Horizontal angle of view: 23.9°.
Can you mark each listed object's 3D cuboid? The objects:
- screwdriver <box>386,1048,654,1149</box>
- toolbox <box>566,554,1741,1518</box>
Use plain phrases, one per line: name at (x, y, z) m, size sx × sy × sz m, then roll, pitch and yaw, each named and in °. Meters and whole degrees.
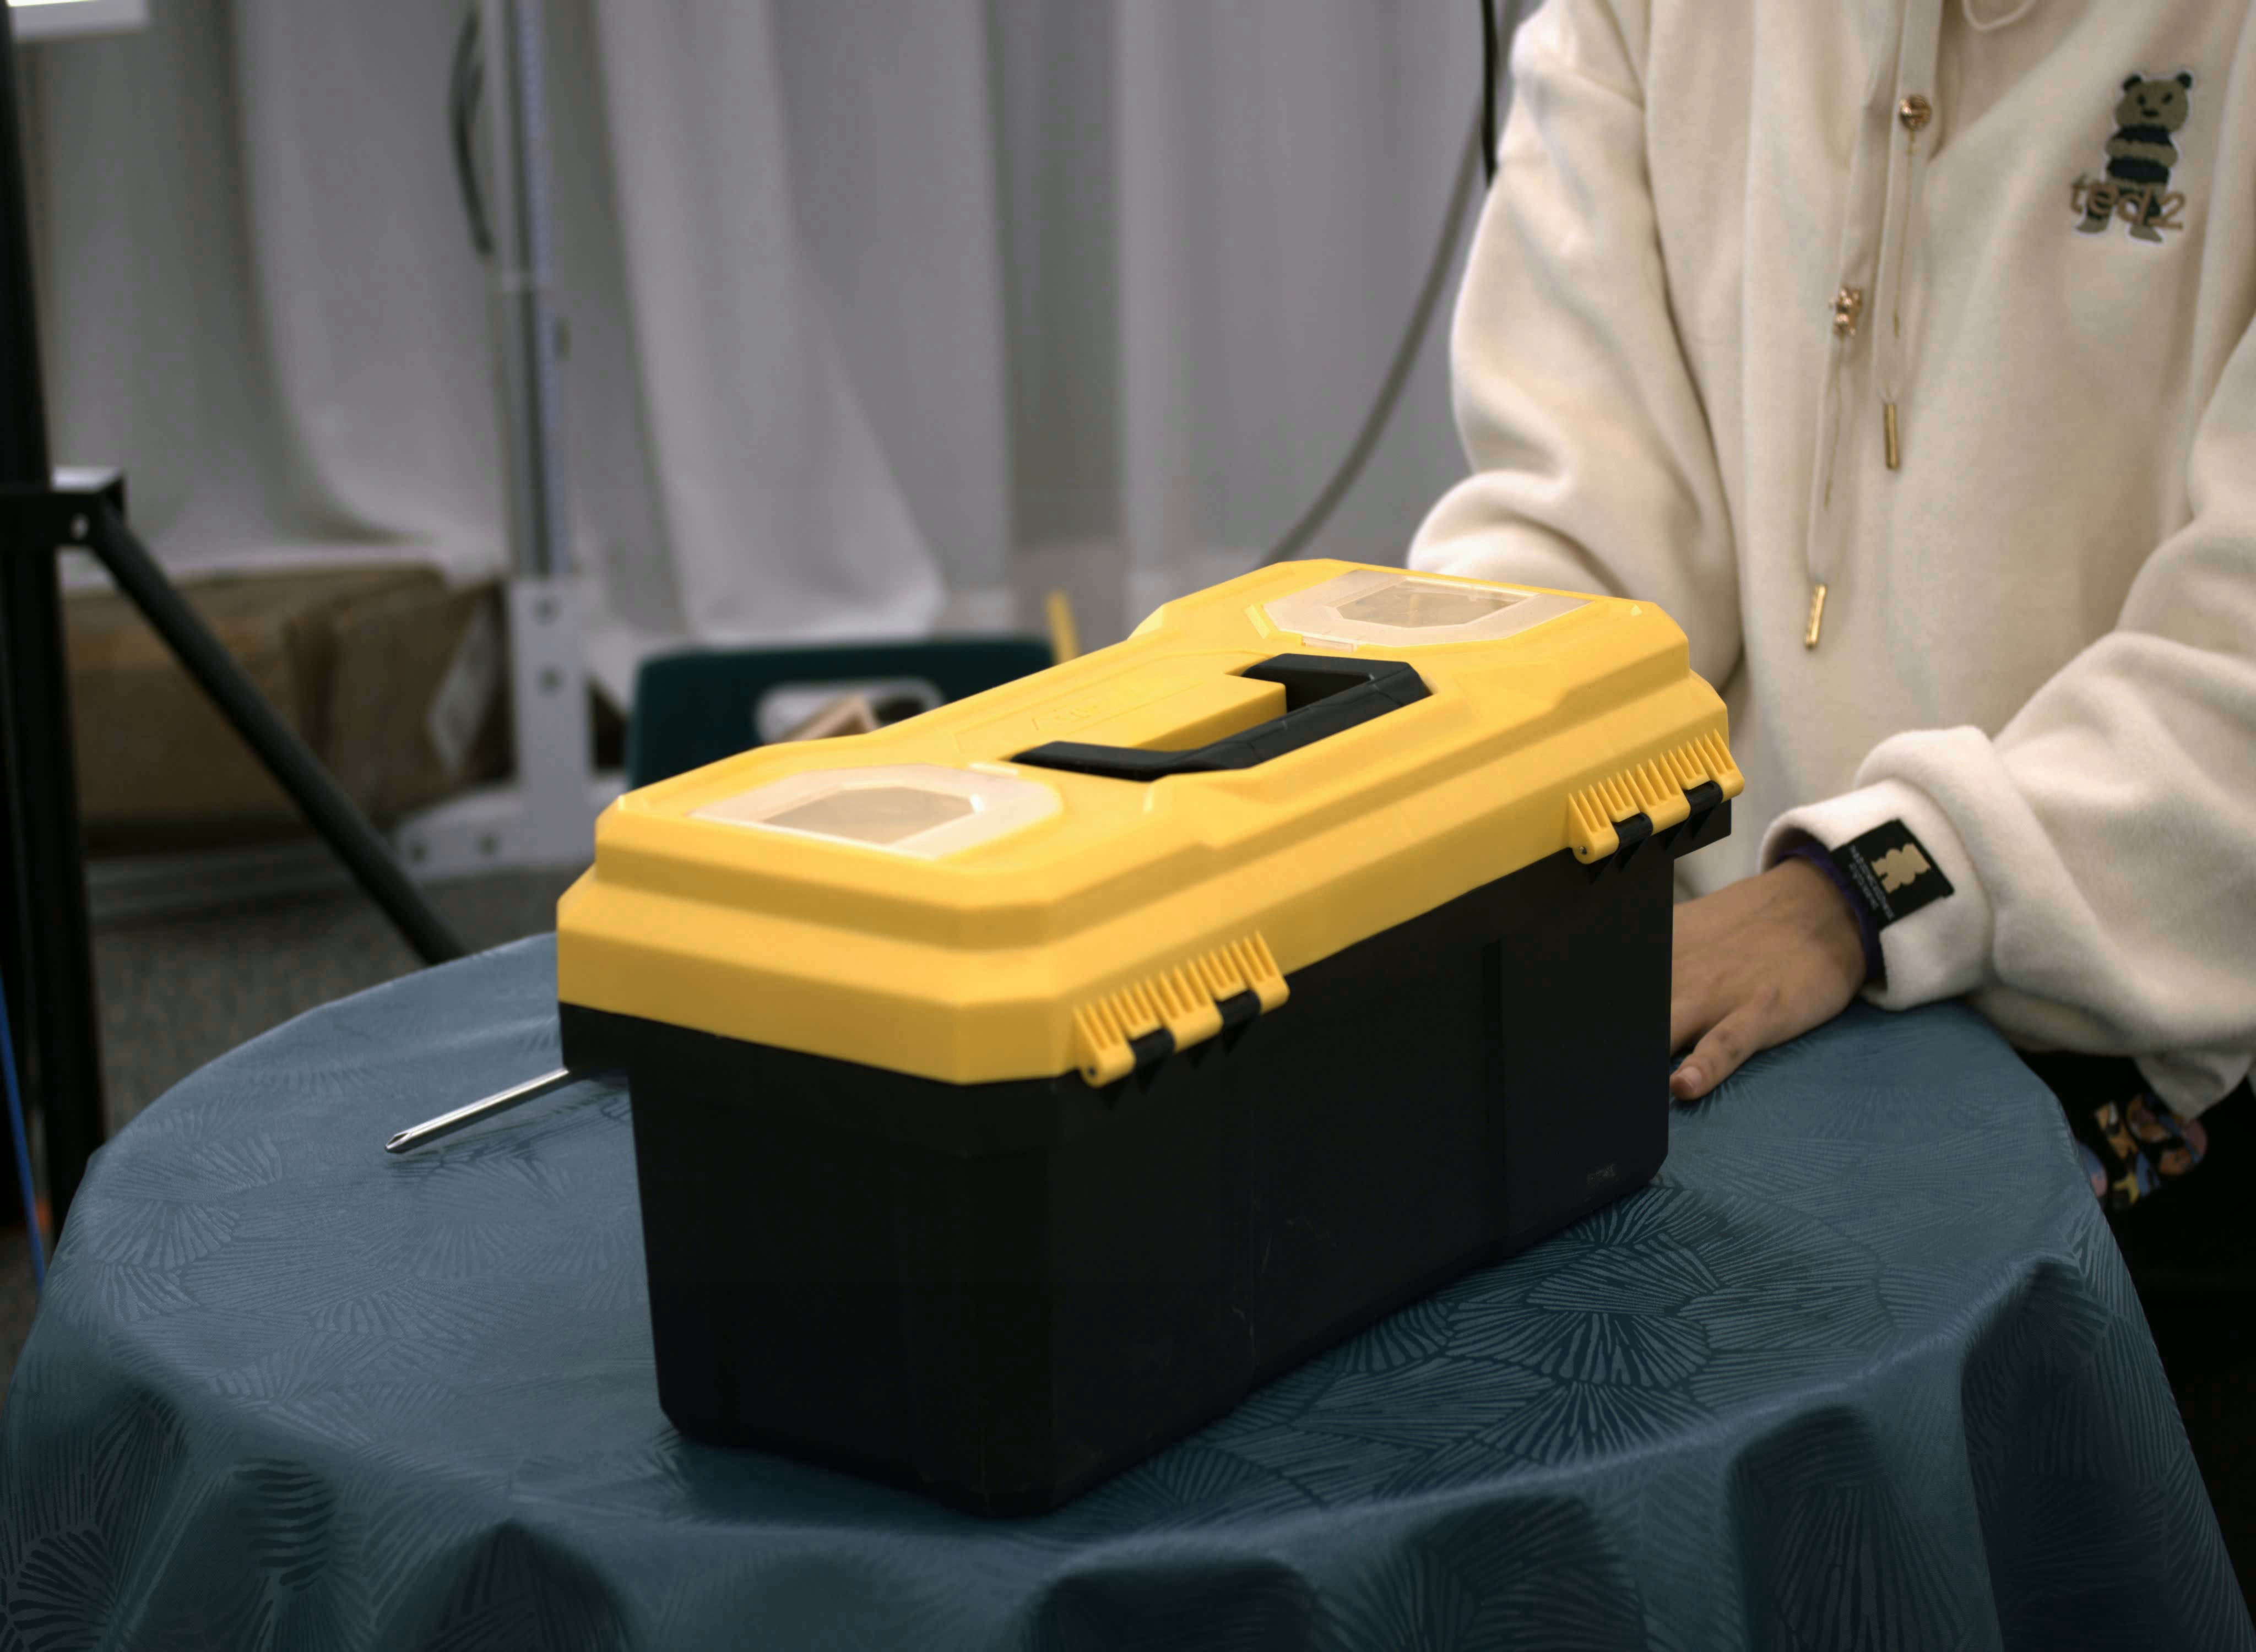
screwdriver at (-0.158, 0.065, 1.676) m, size 0.192 × 0.031 × 0.032 m, roll -19°, pitch 22°, yaw -41°
toolbox at (0.015, 0.047, 1.451) m, size 0.185 × 0.173 × 0.344 m, roll 10°, pitch 20°, yaw 37°
